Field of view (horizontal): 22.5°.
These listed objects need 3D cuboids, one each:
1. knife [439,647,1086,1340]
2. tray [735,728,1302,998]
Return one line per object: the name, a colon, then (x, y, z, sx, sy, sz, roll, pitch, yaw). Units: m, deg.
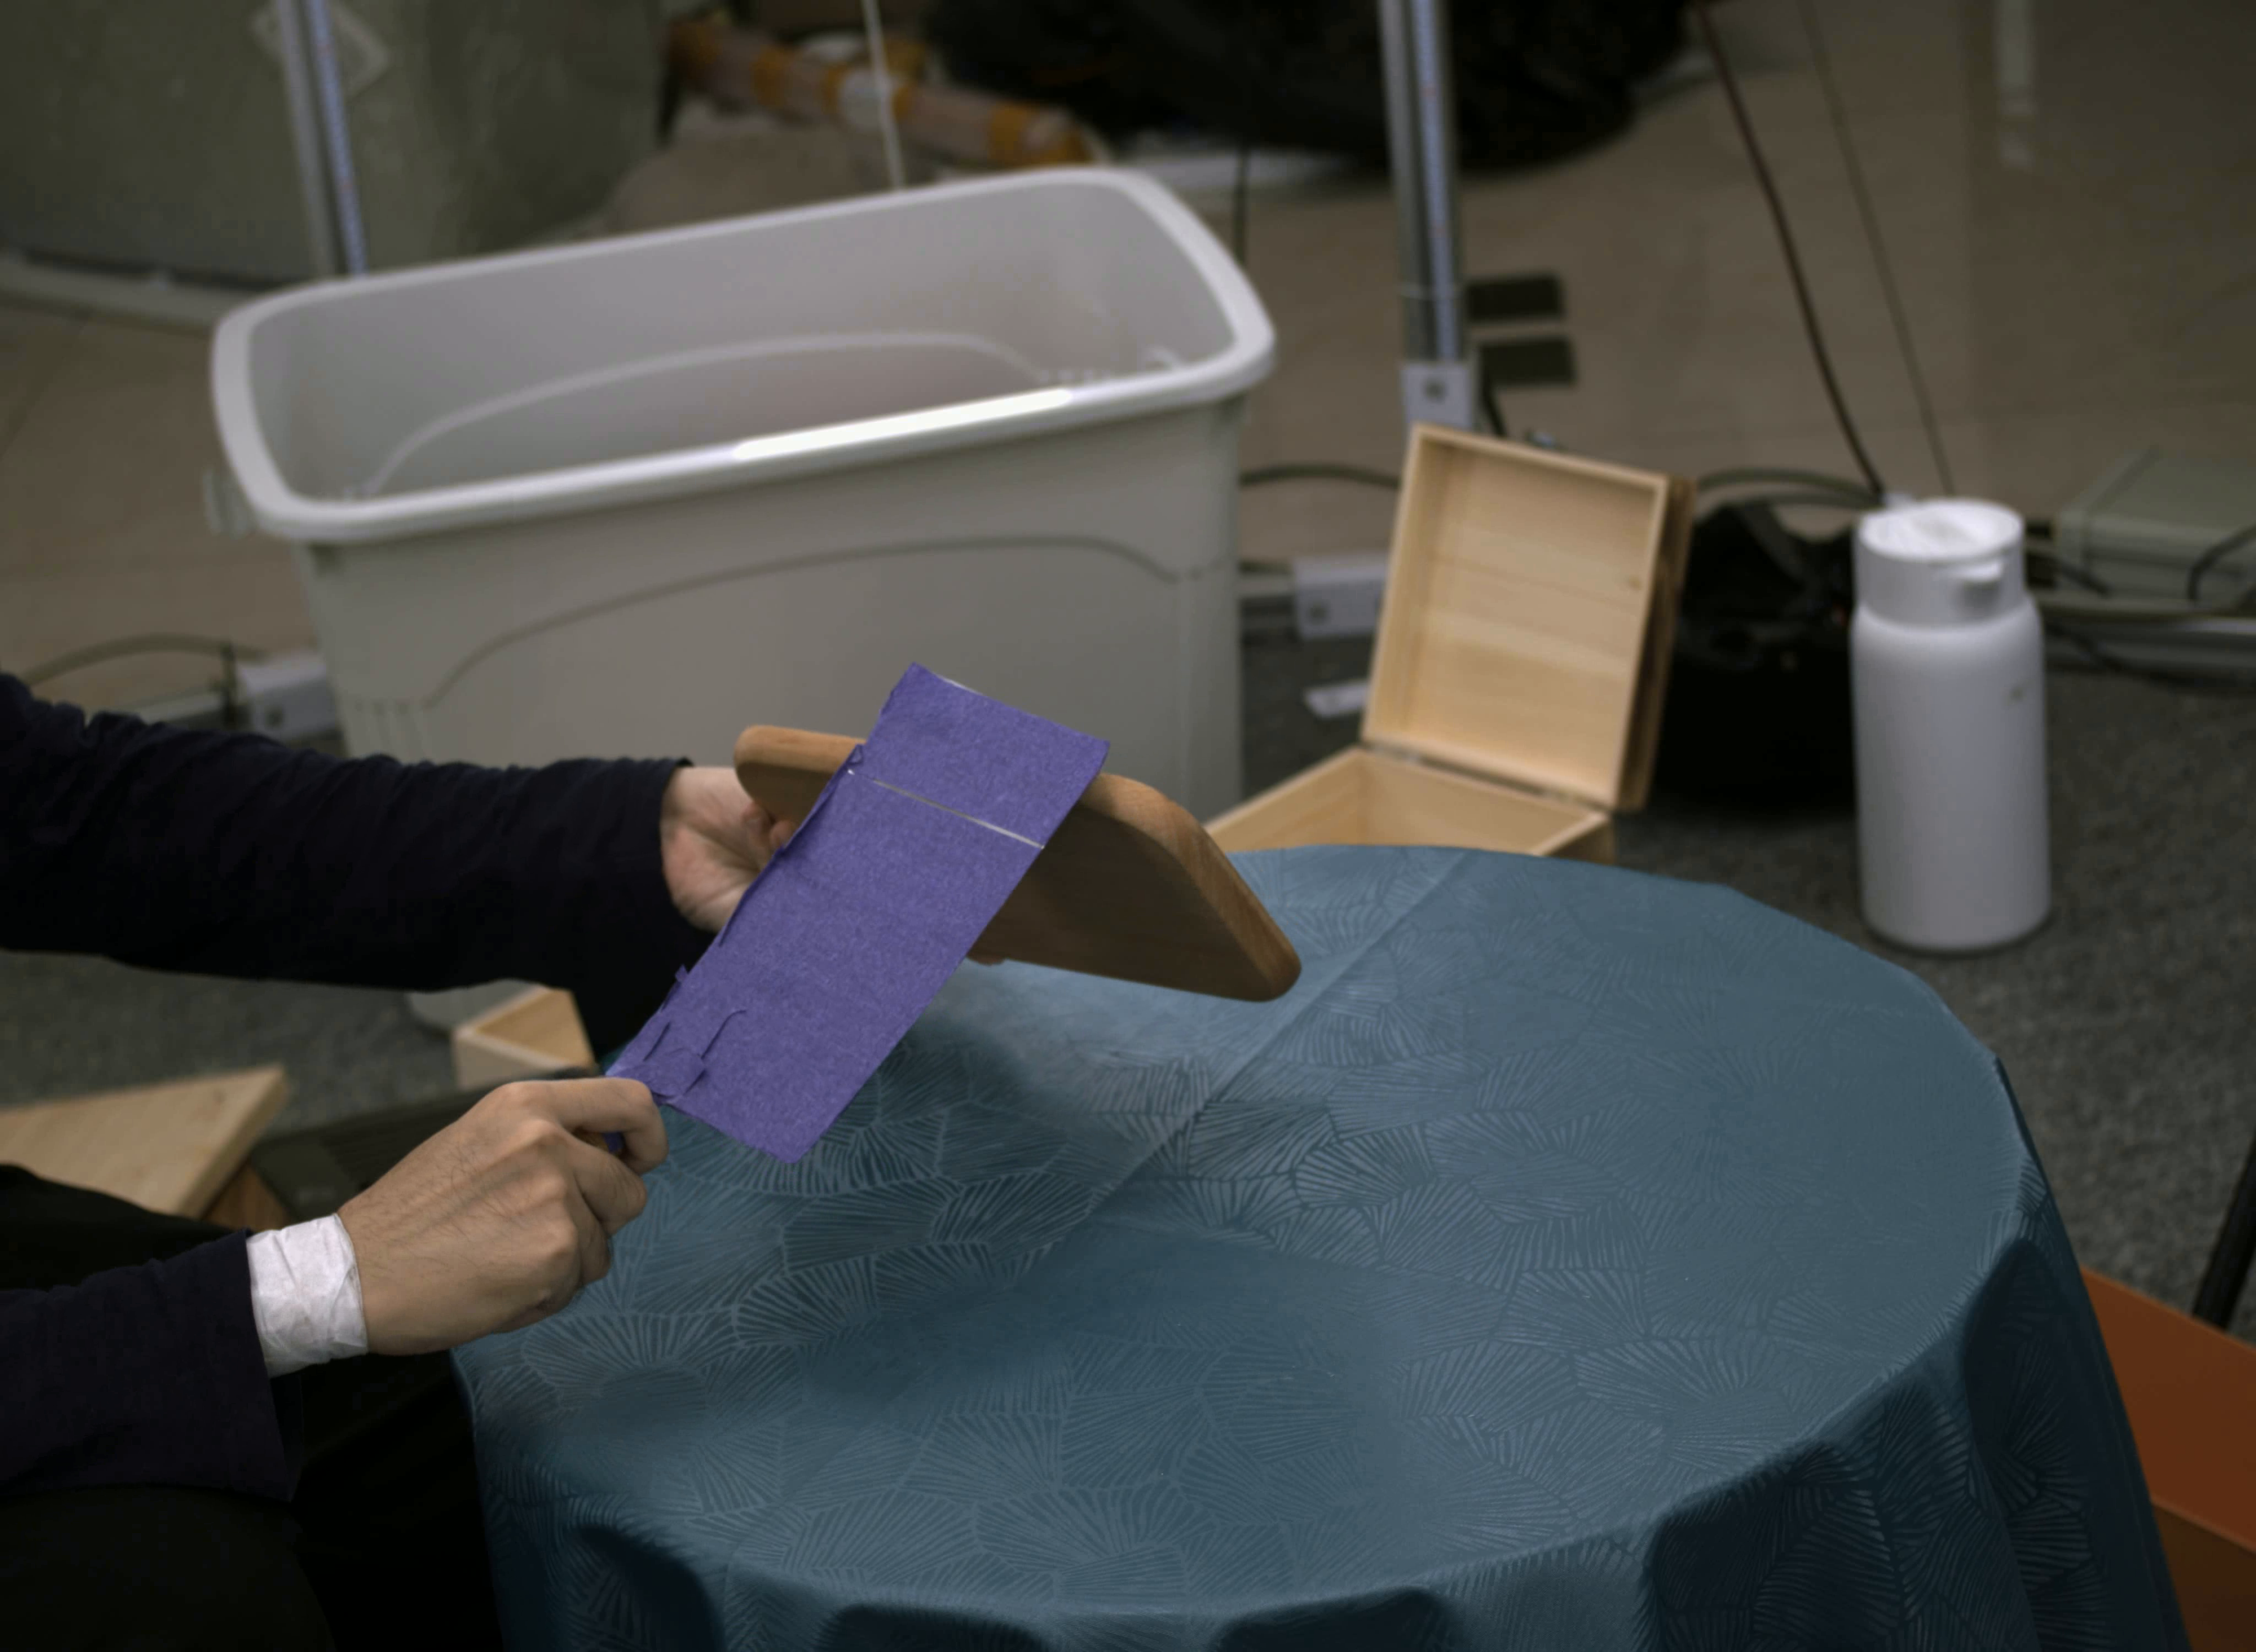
knife: (-0.128, 0.065, 2.057, 0.103, 0.033, 0.312, 24, 67, 28)
tray: (-0.047, 0.015, 2.212, 0.250, 0.132, 0.022, 6, 52, 44)
